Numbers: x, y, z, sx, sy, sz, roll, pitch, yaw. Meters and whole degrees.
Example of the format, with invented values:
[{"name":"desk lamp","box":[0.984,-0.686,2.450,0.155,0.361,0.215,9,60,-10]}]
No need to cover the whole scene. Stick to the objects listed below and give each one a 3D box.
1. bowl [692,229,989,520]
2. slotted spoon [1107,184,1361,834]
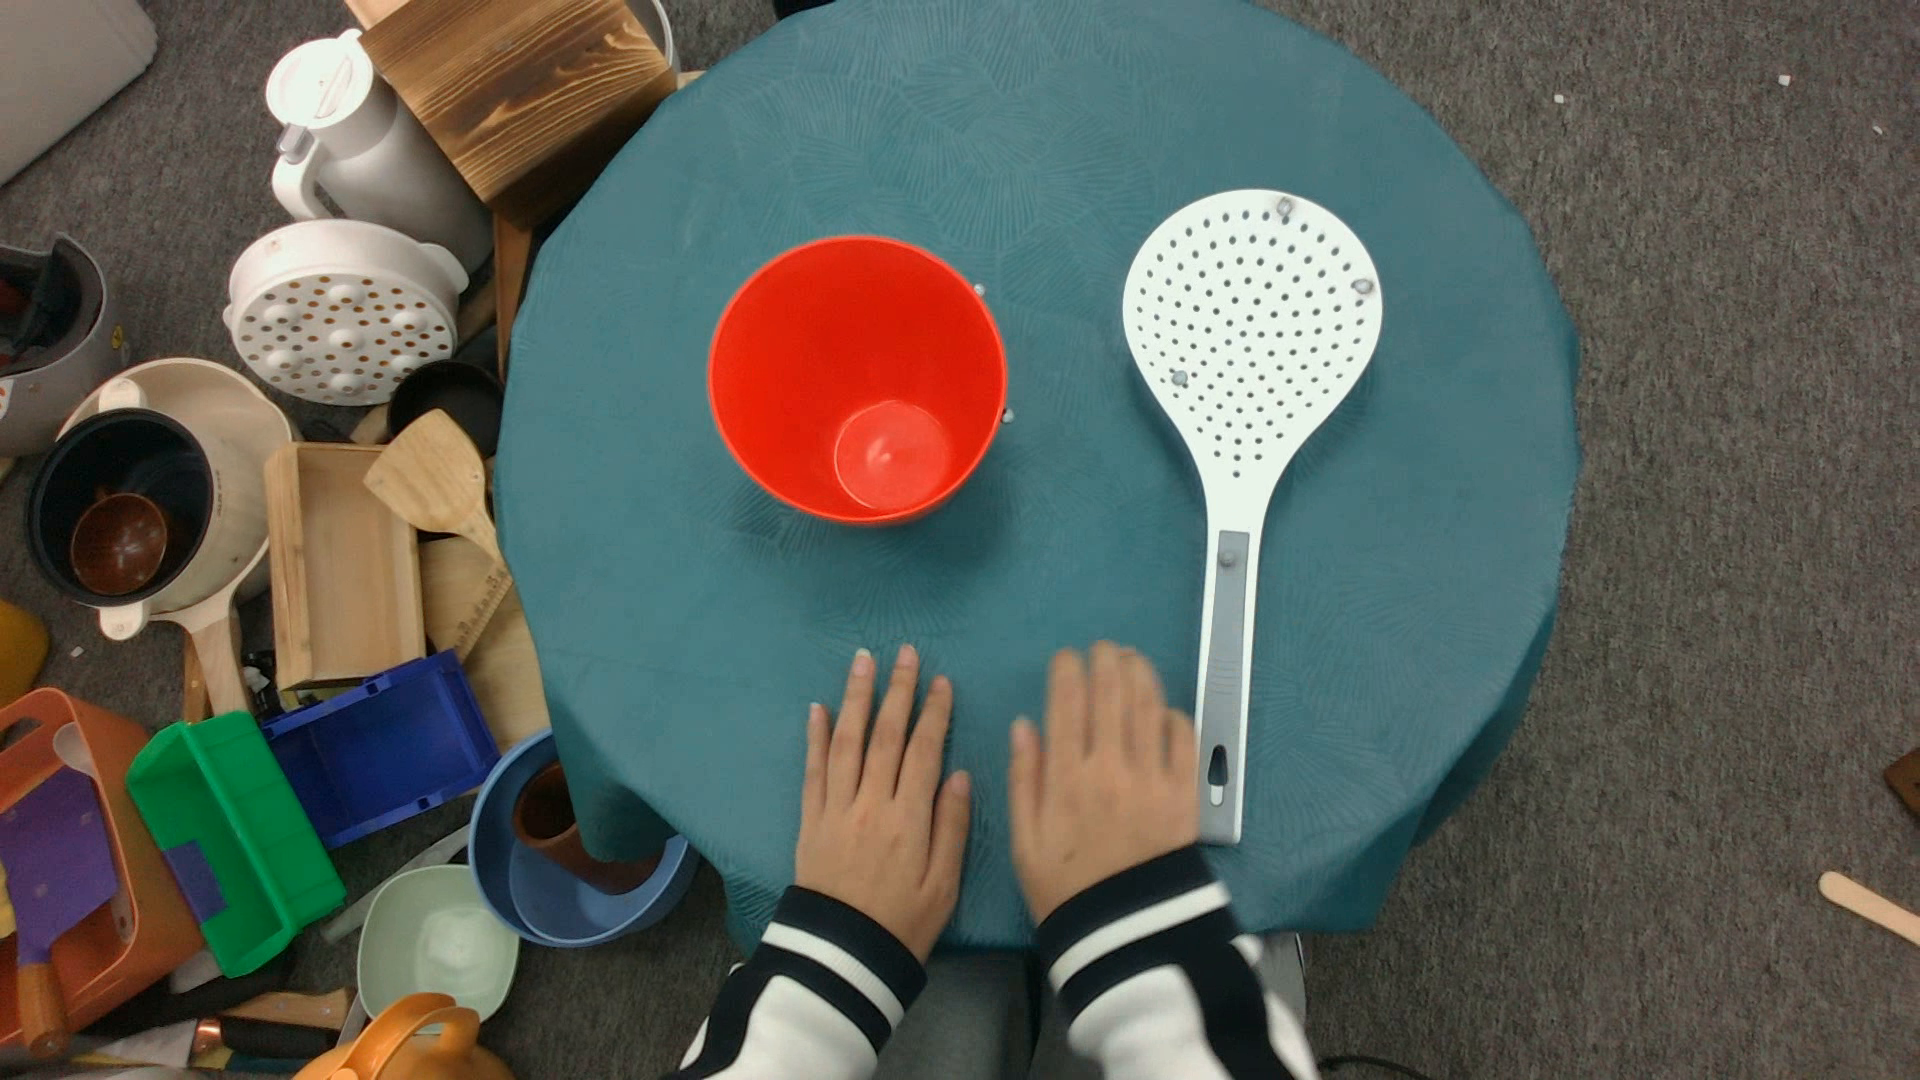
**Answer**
[{"name":"bowl","box":[-0.058,-0.073,0.721,0.148,0.104,0.148,0,71,1]},{"name":"slotted spoon","box":[0.136,-0.024,0.724,0.136,0.045,0.351,5,72,6]}]
